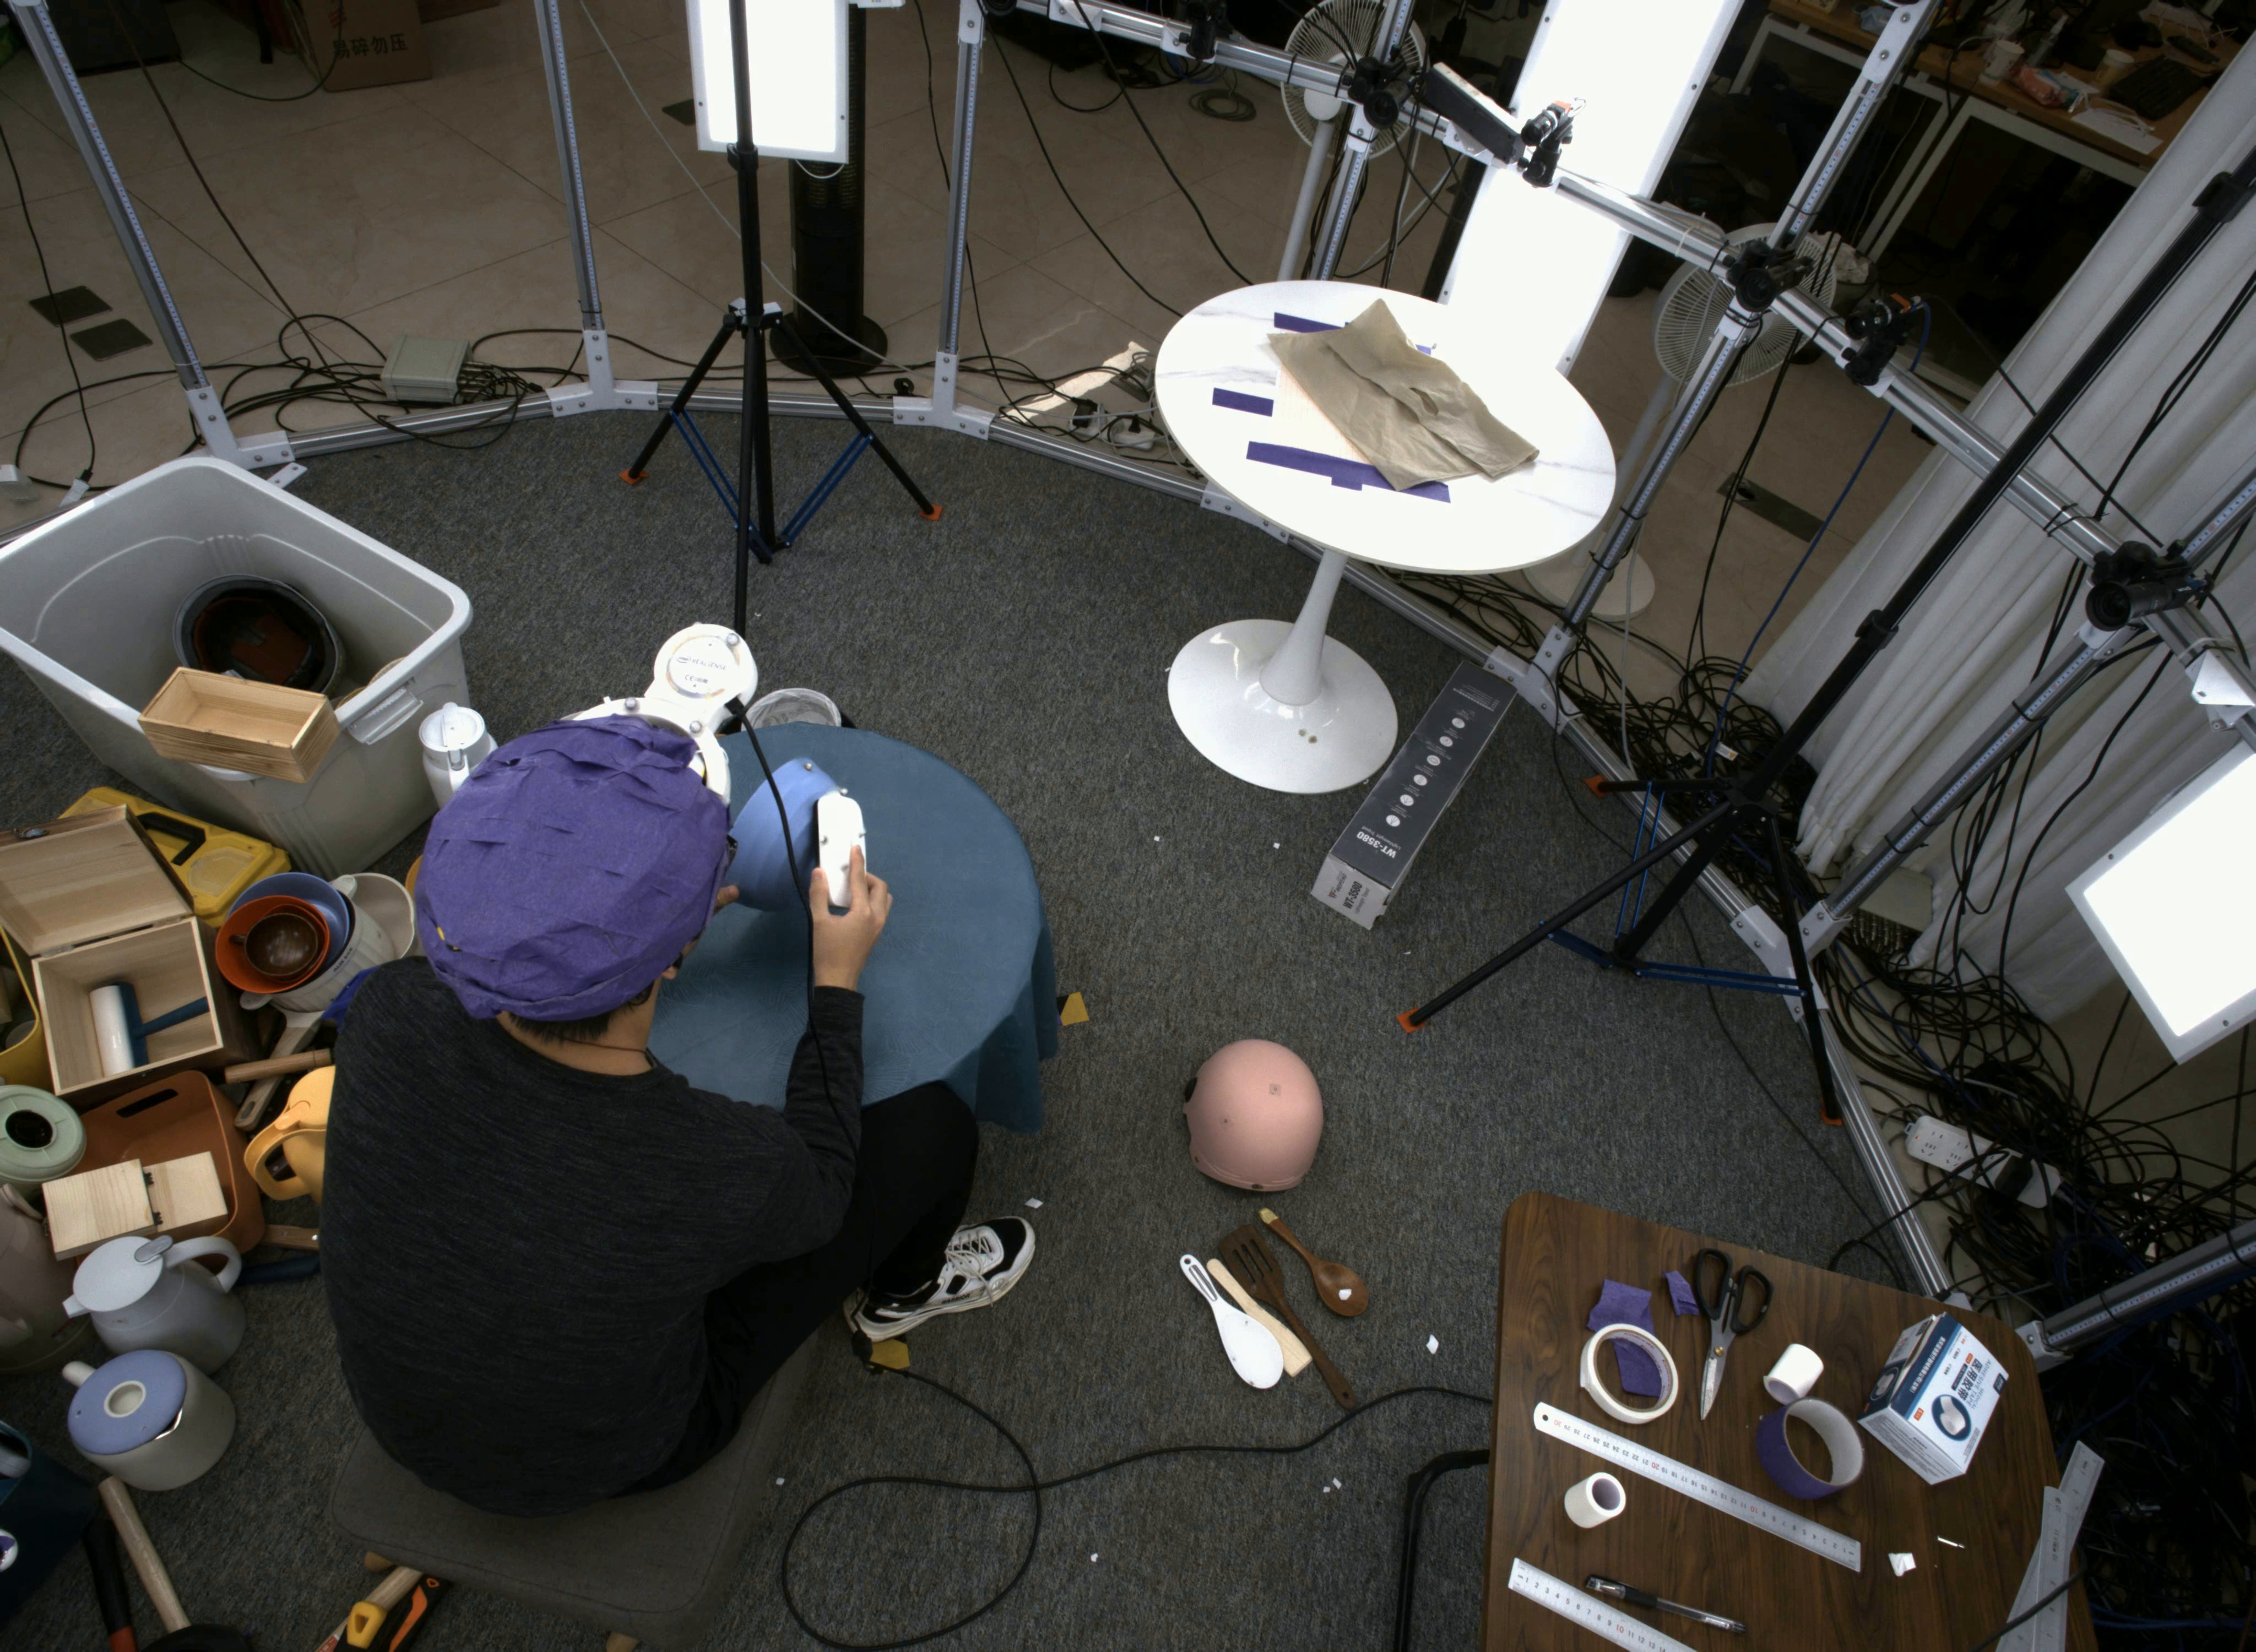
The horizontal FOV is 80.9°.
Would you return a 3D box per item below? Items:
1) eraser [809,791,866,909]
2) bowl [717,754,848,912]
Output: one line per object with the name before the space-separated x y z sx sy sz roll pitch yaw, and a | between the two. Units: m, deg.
eraser | -0.332 0.027 1.481 0.034 0.065 0.131 -13 76 26
bowl | -0.390 0.023 1.542 0.094 0.200 0.195 28 51 8
